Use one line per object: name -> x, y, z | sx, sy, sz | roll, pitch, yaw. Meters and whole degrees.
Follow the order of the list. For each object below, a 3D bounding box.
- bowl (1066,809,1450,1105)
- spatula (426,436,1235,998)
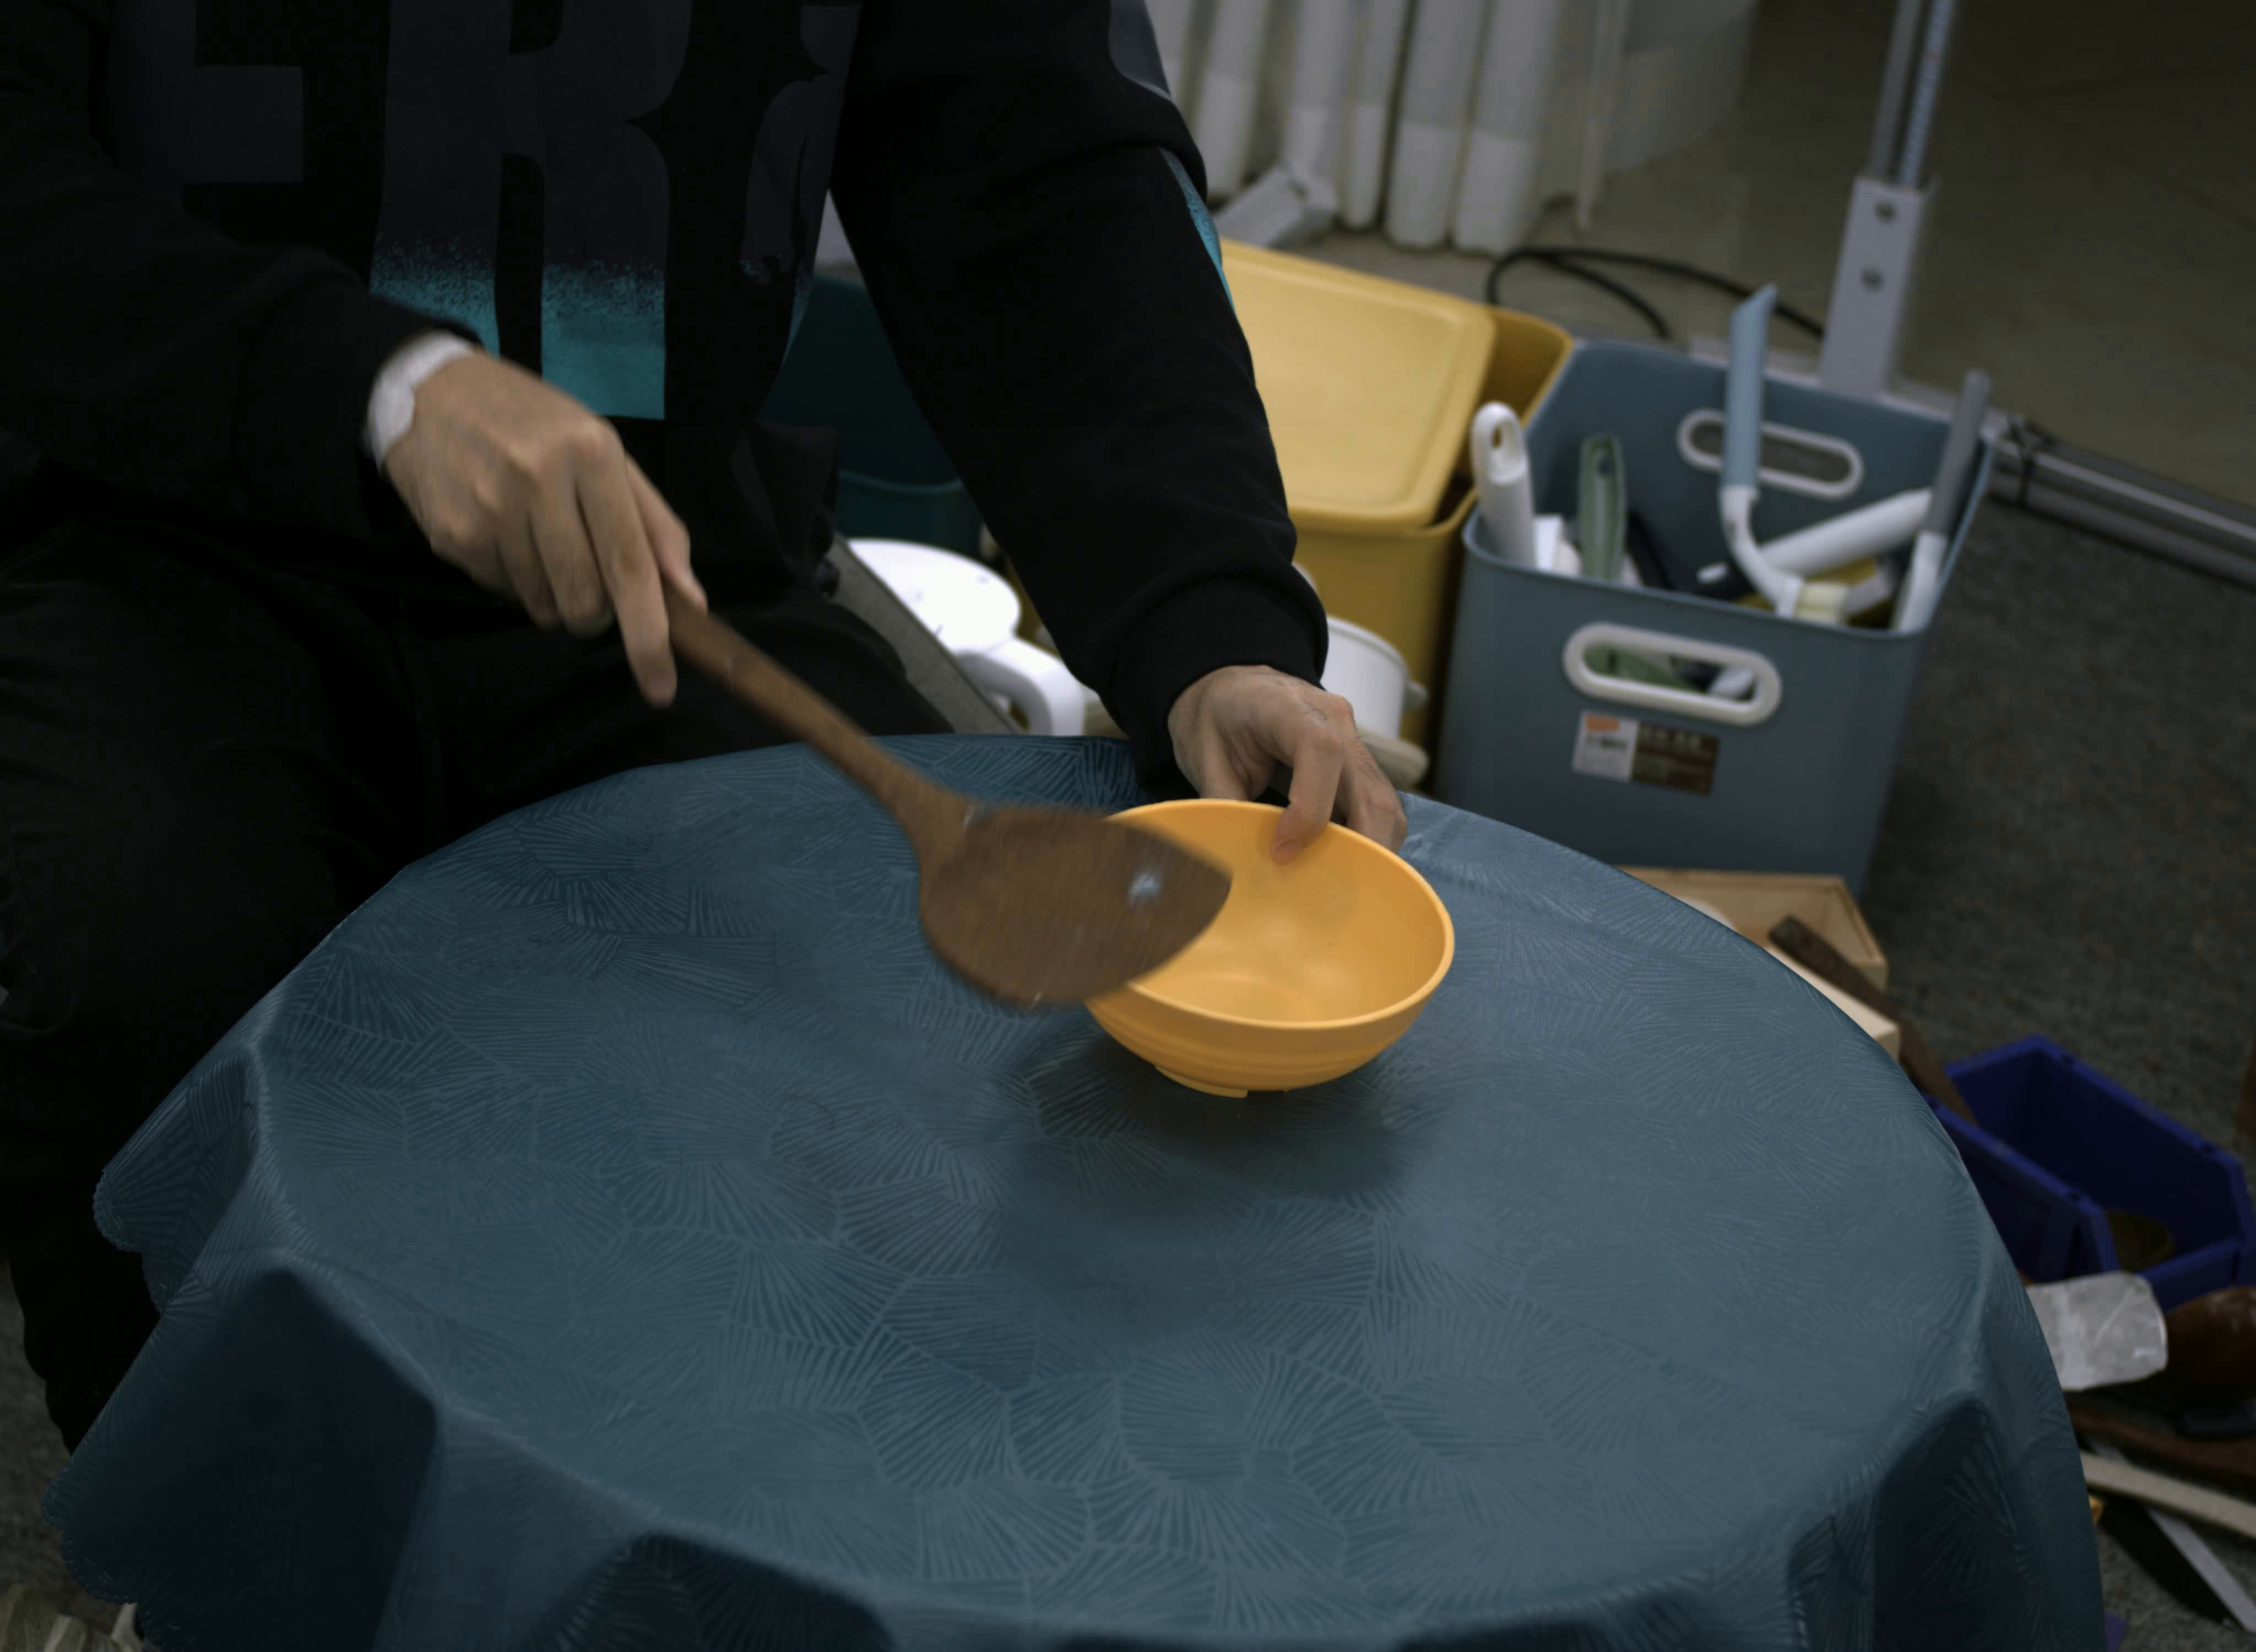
bowl -> 0.038, 0.056, 1.877 | 0.145, 0.060, 0.146 | 8, 29, -5
spatula -> -0.120, -0.049, 1.823 | 0.096, 0.015, 0.389 | -33, 50, -29
